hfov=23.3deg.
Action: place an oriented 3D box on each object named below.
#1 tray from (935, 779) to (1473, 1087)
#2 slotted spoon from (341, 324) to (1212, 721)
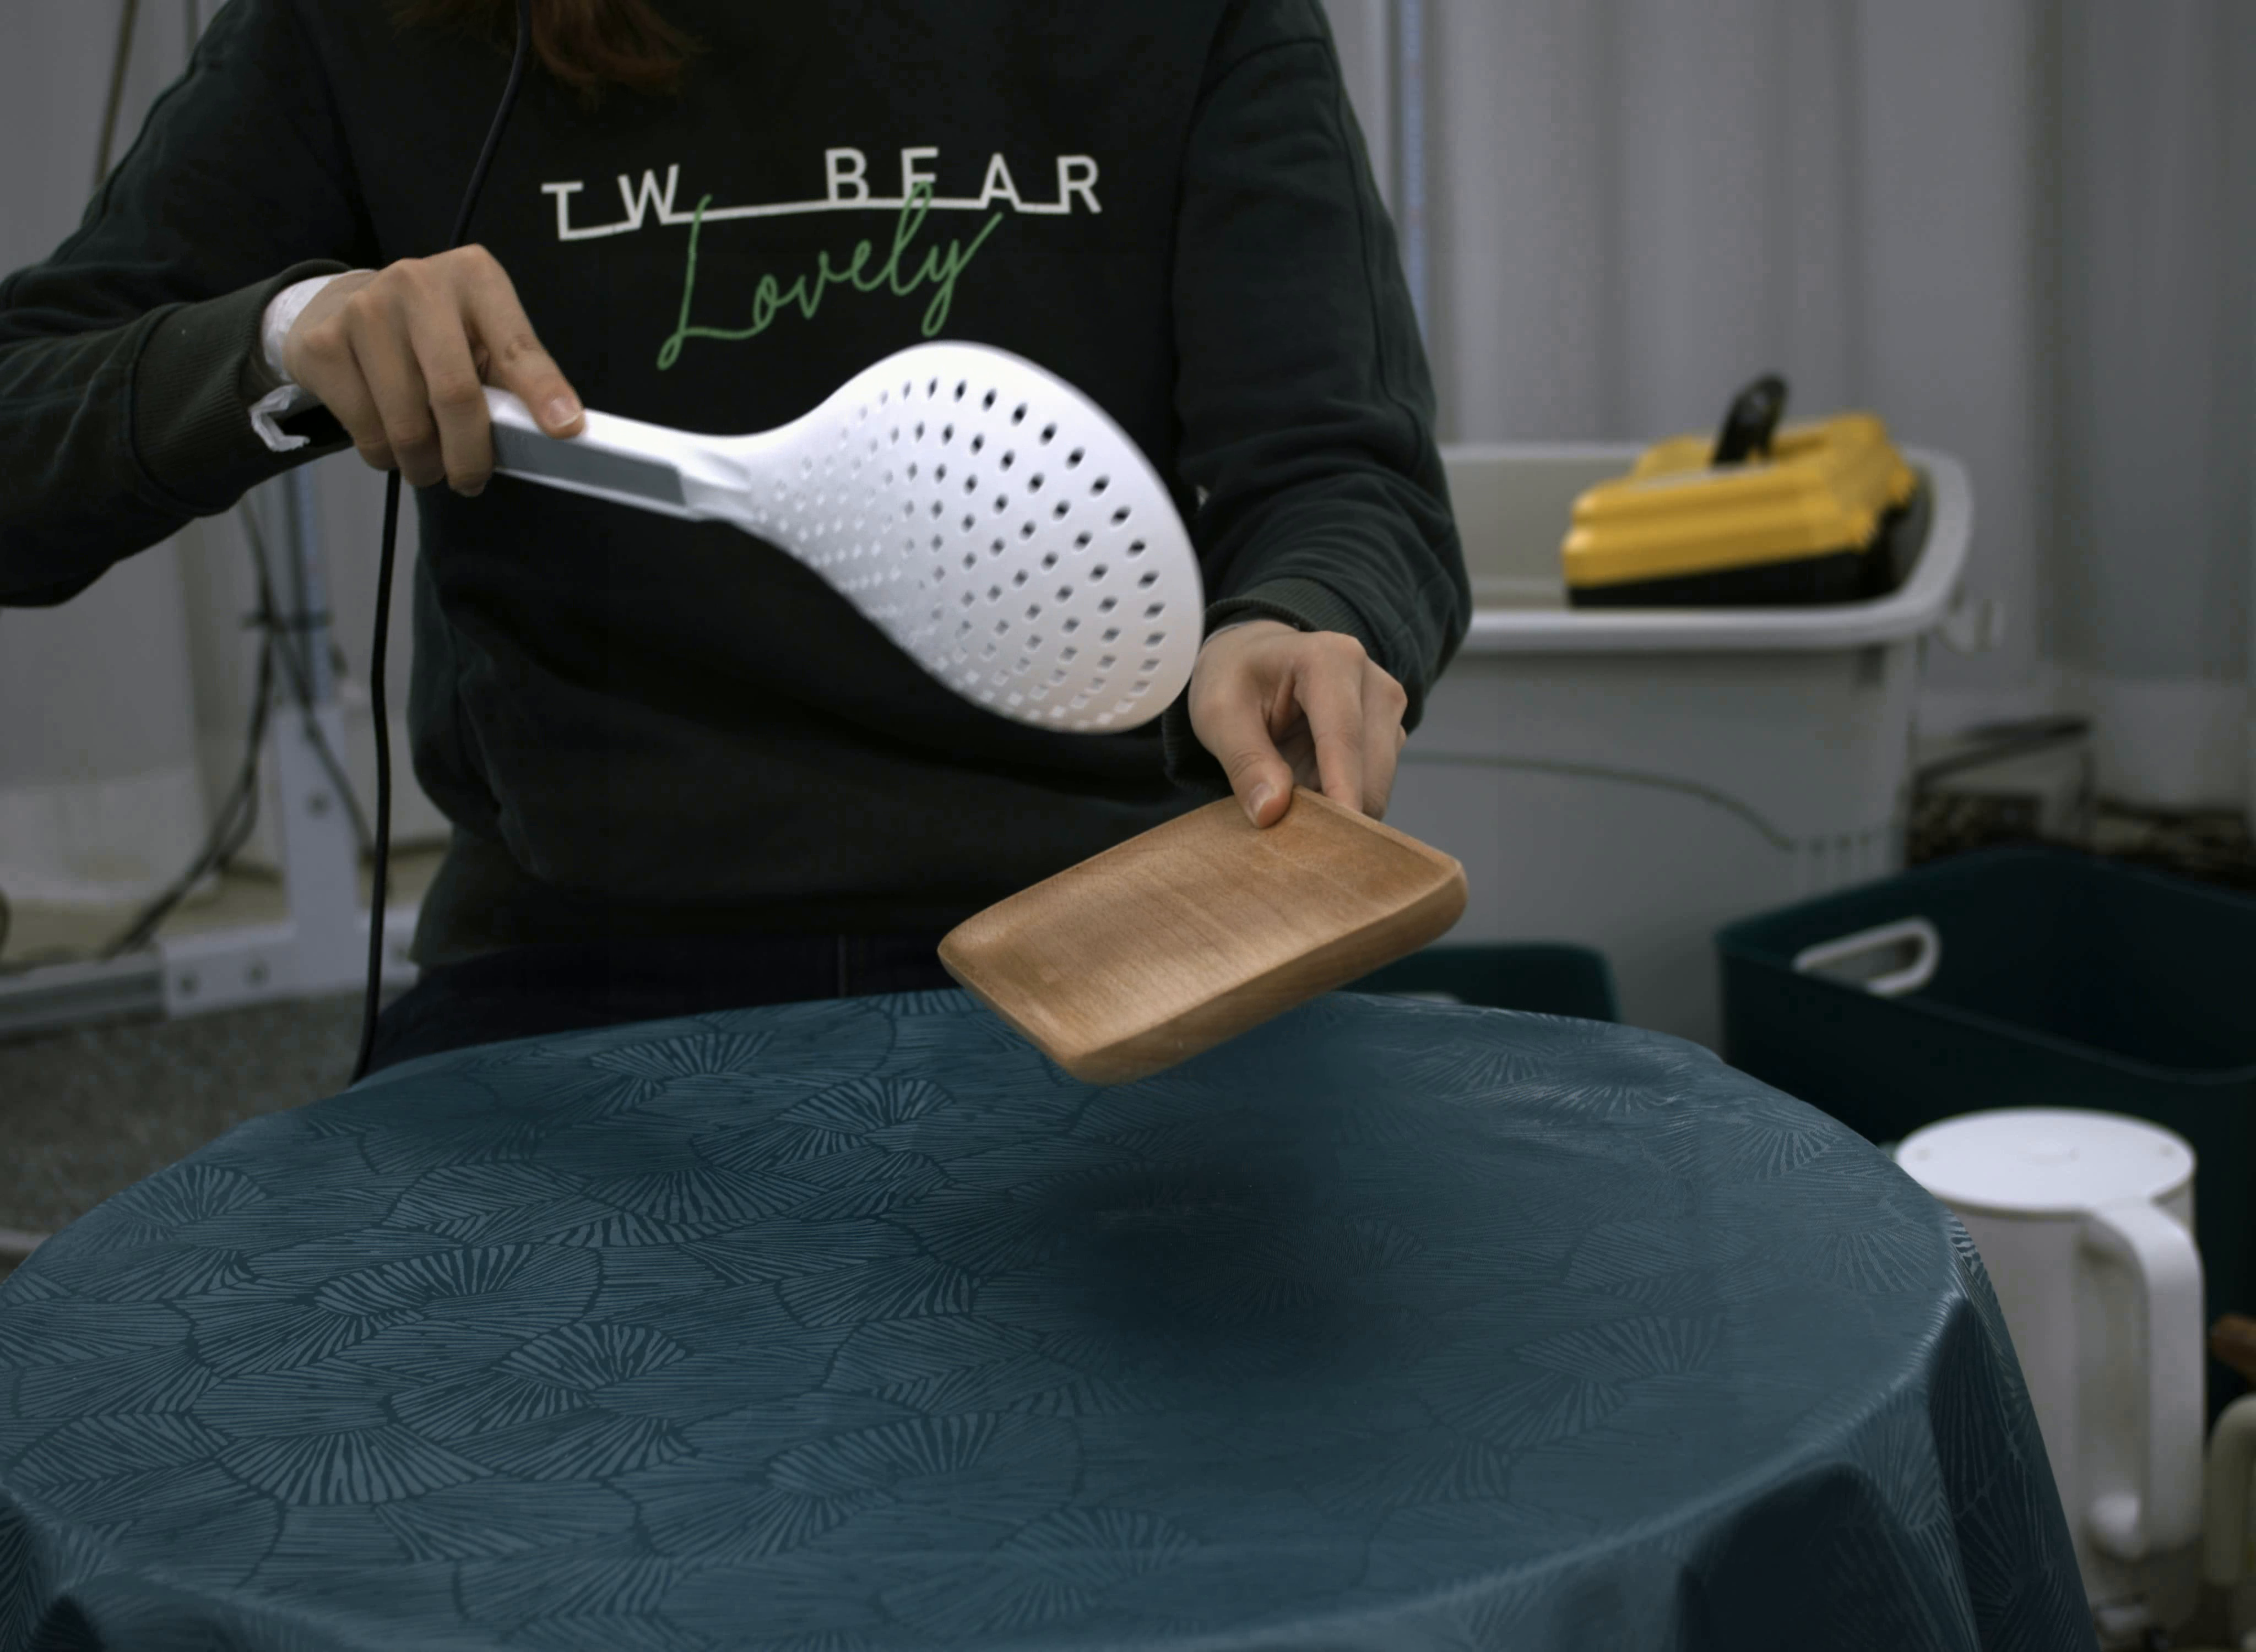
[{"bbox_3d":[0.019,0.030,1.624,0.130,0.023,0.251,-23,10,-8],"label":"tray"},{"bbox_3d":[-0.120,-0.111,1.734,0.352,0.134,0.046,18,40,39],"label":"slotted spoon"}]
